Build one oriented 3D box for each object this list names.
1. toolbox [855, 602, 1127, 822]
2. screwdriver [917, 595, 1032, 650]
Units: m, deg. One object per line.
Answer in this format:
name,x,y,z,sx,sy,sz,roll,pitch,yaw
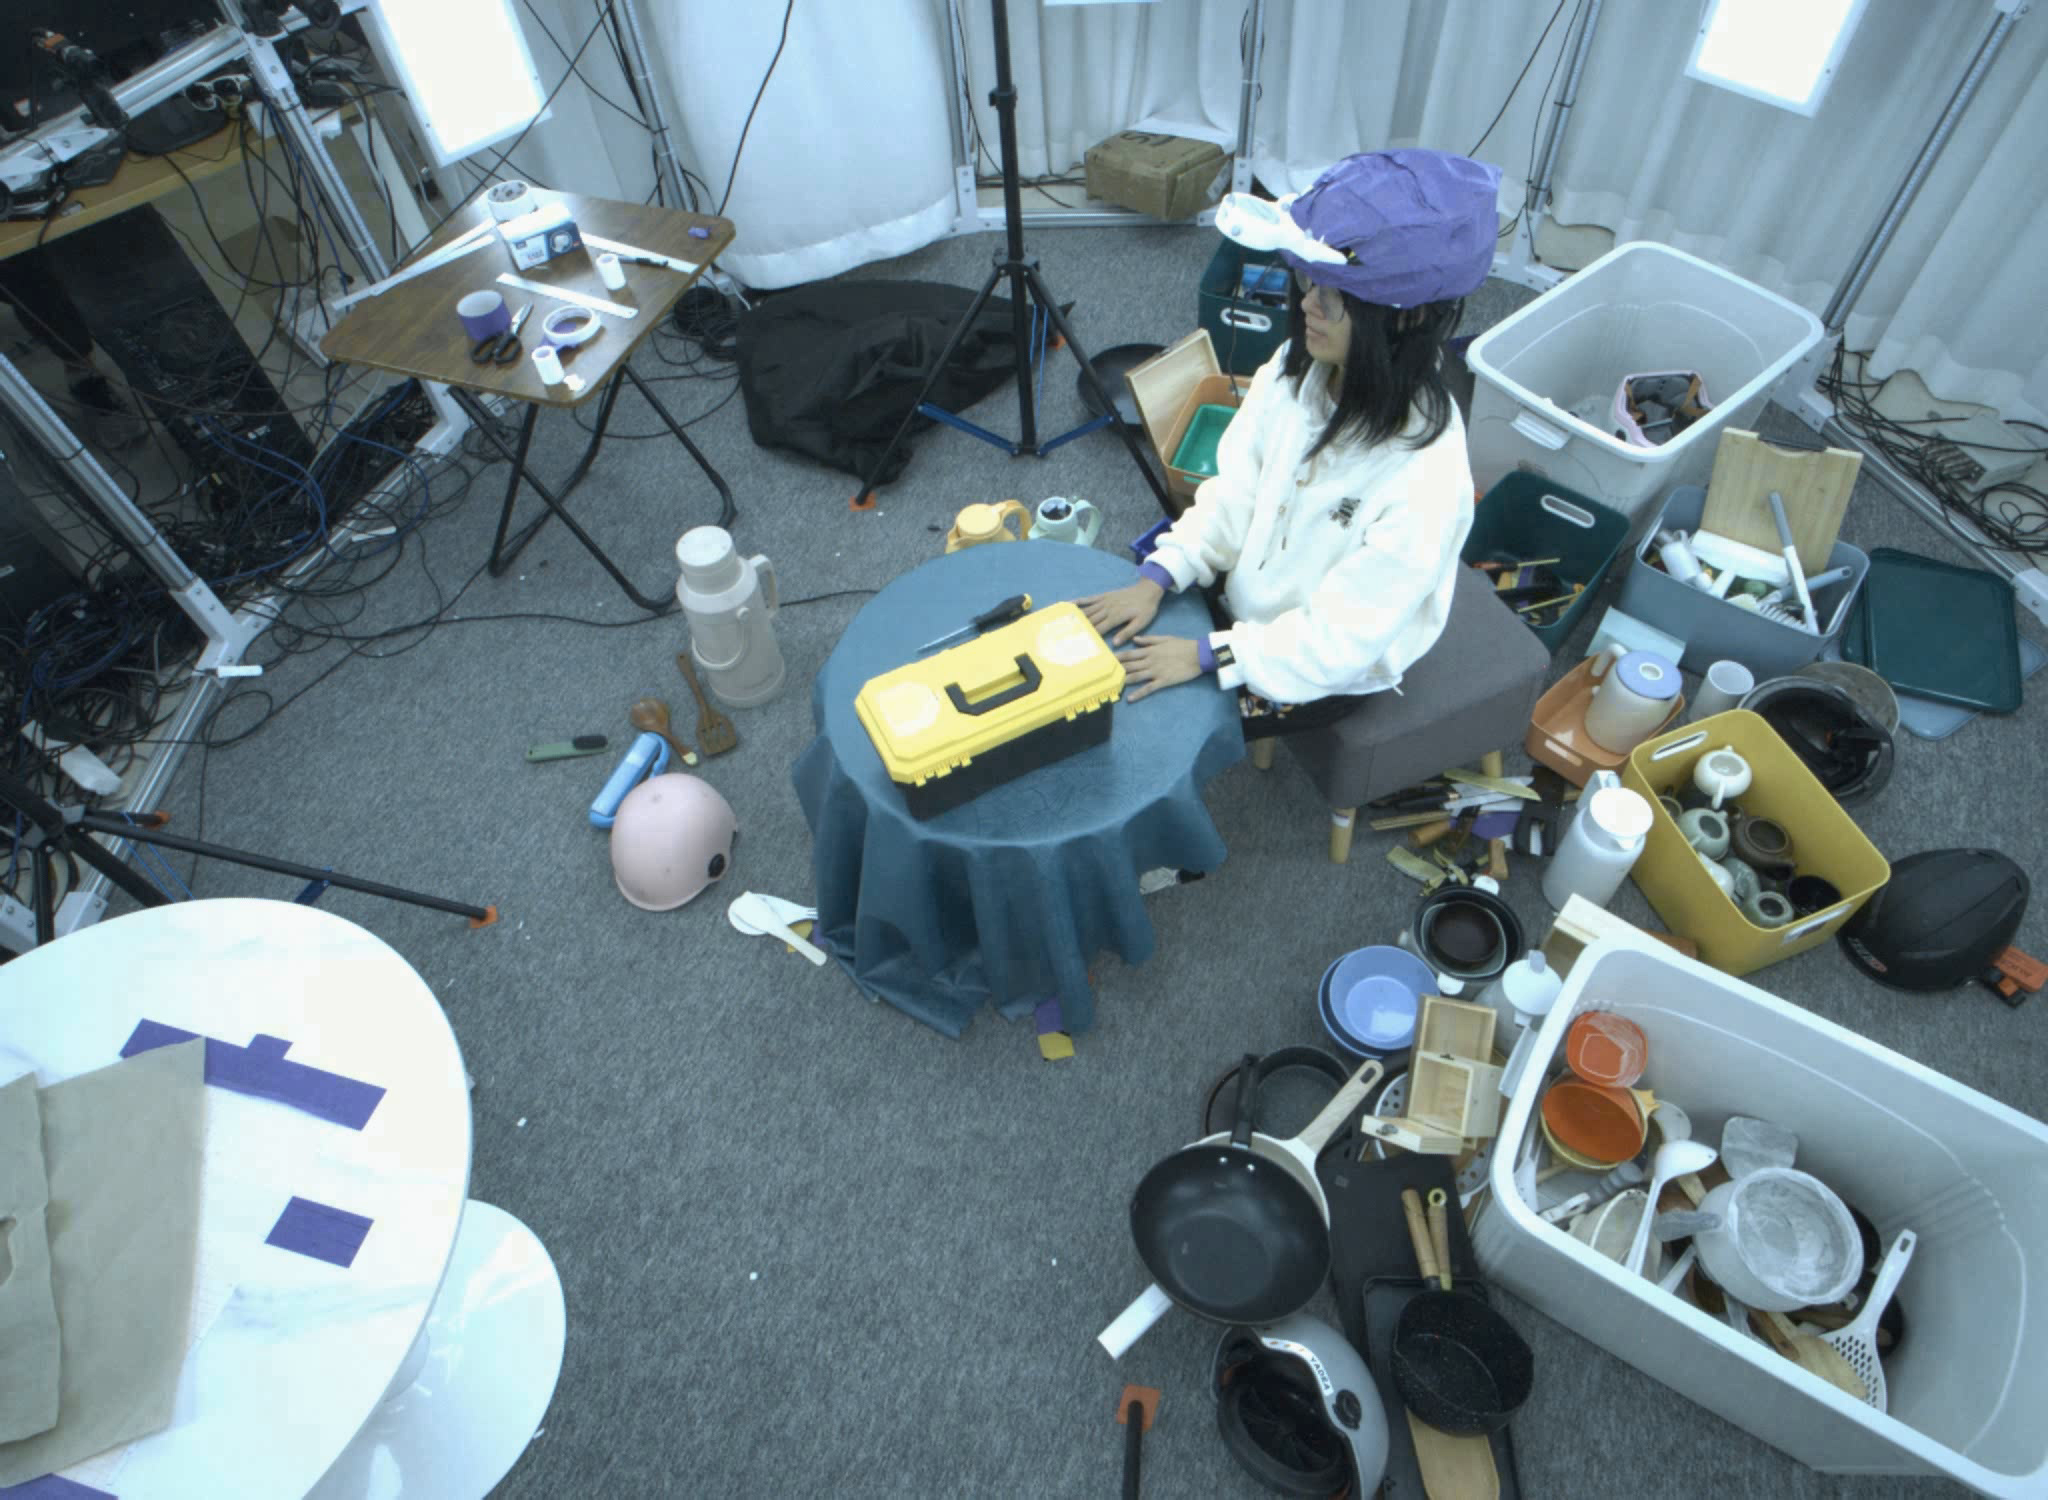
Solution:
toolbox,-0.043,-0.052,1.719,0.354,0.175,0.178,-24,57,-13
screwdriver,-0.077,-0.194,1.922,0.199,0.032,0.031,-26,58,-10
